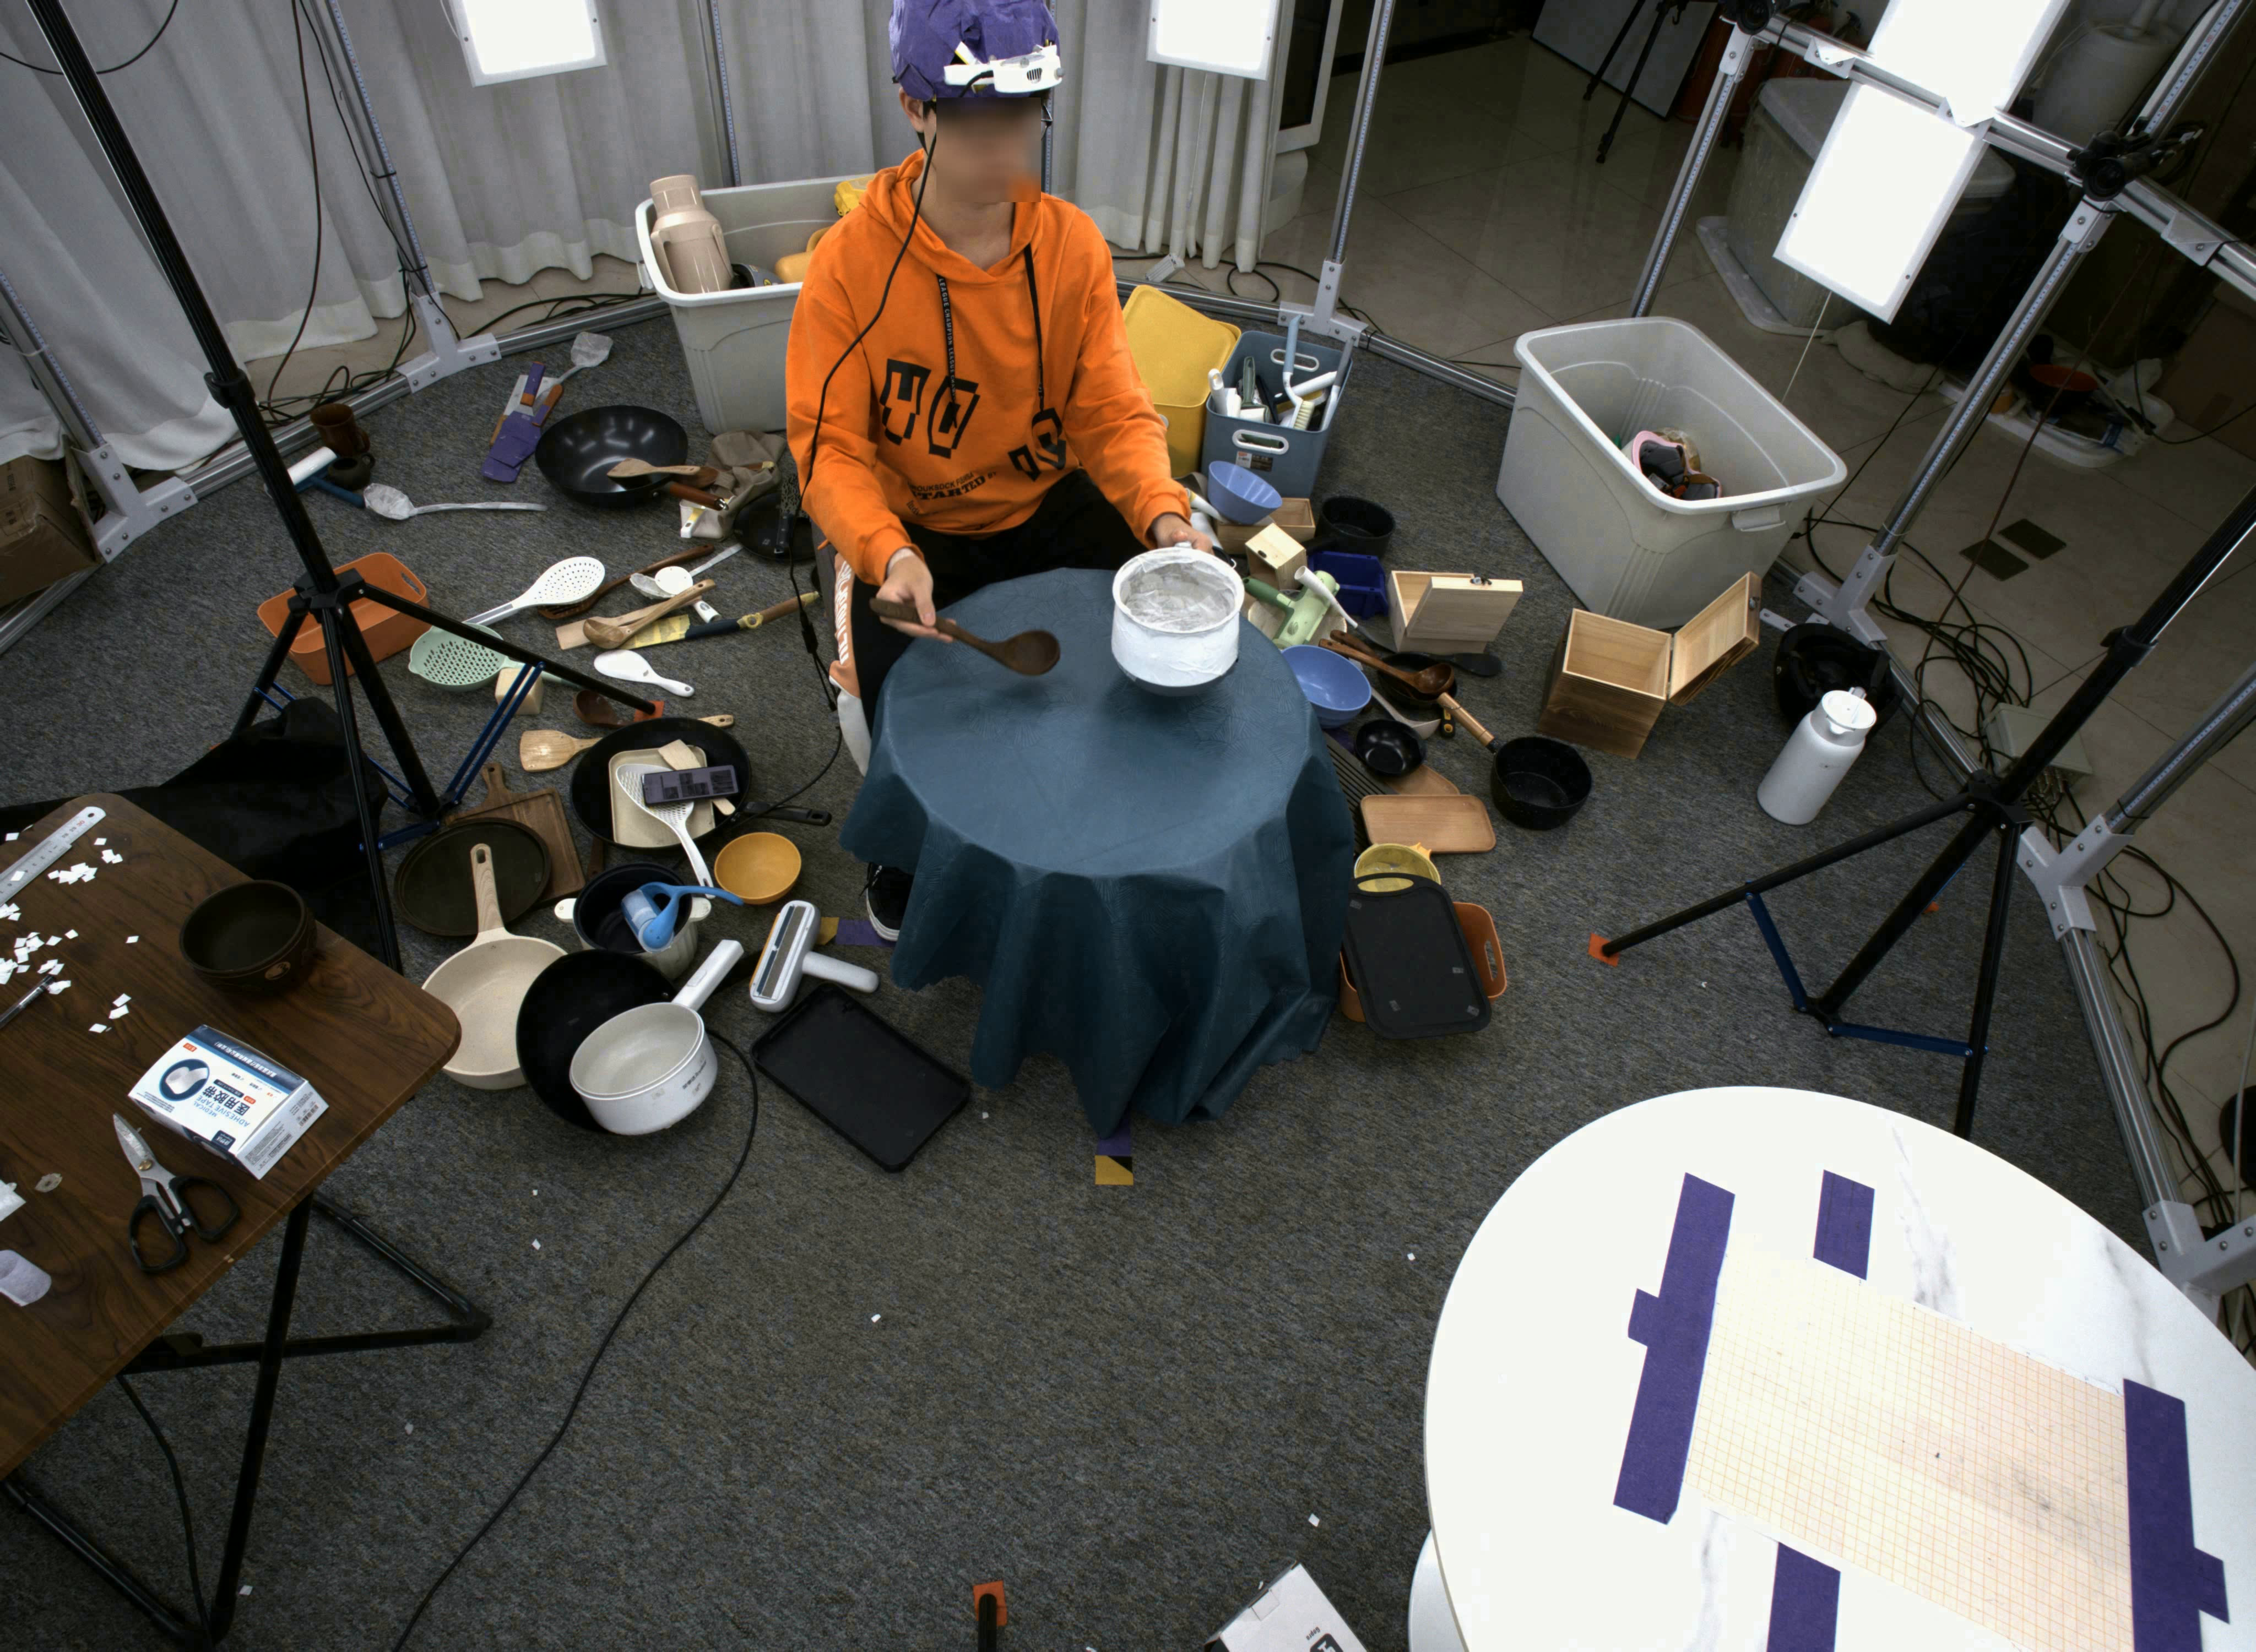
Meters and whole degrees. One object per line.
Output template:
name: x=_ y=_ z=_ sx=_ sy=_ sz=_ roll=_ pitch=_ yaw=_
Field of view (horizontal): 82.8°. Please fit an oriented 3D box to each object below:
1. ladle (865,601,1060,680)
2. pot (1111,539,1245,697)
ladle: x=-0.215 y=-0.263 z=1.730 sx=0.271 sy=0.070 sz=0.078 roll=19 pitch=47 yaw=-36
pot: x=0.067 y=-0.296 z=1.777 sx=0.178 sy=0.133 sz=0.239 roll=4 pitch=48 yaw=1
